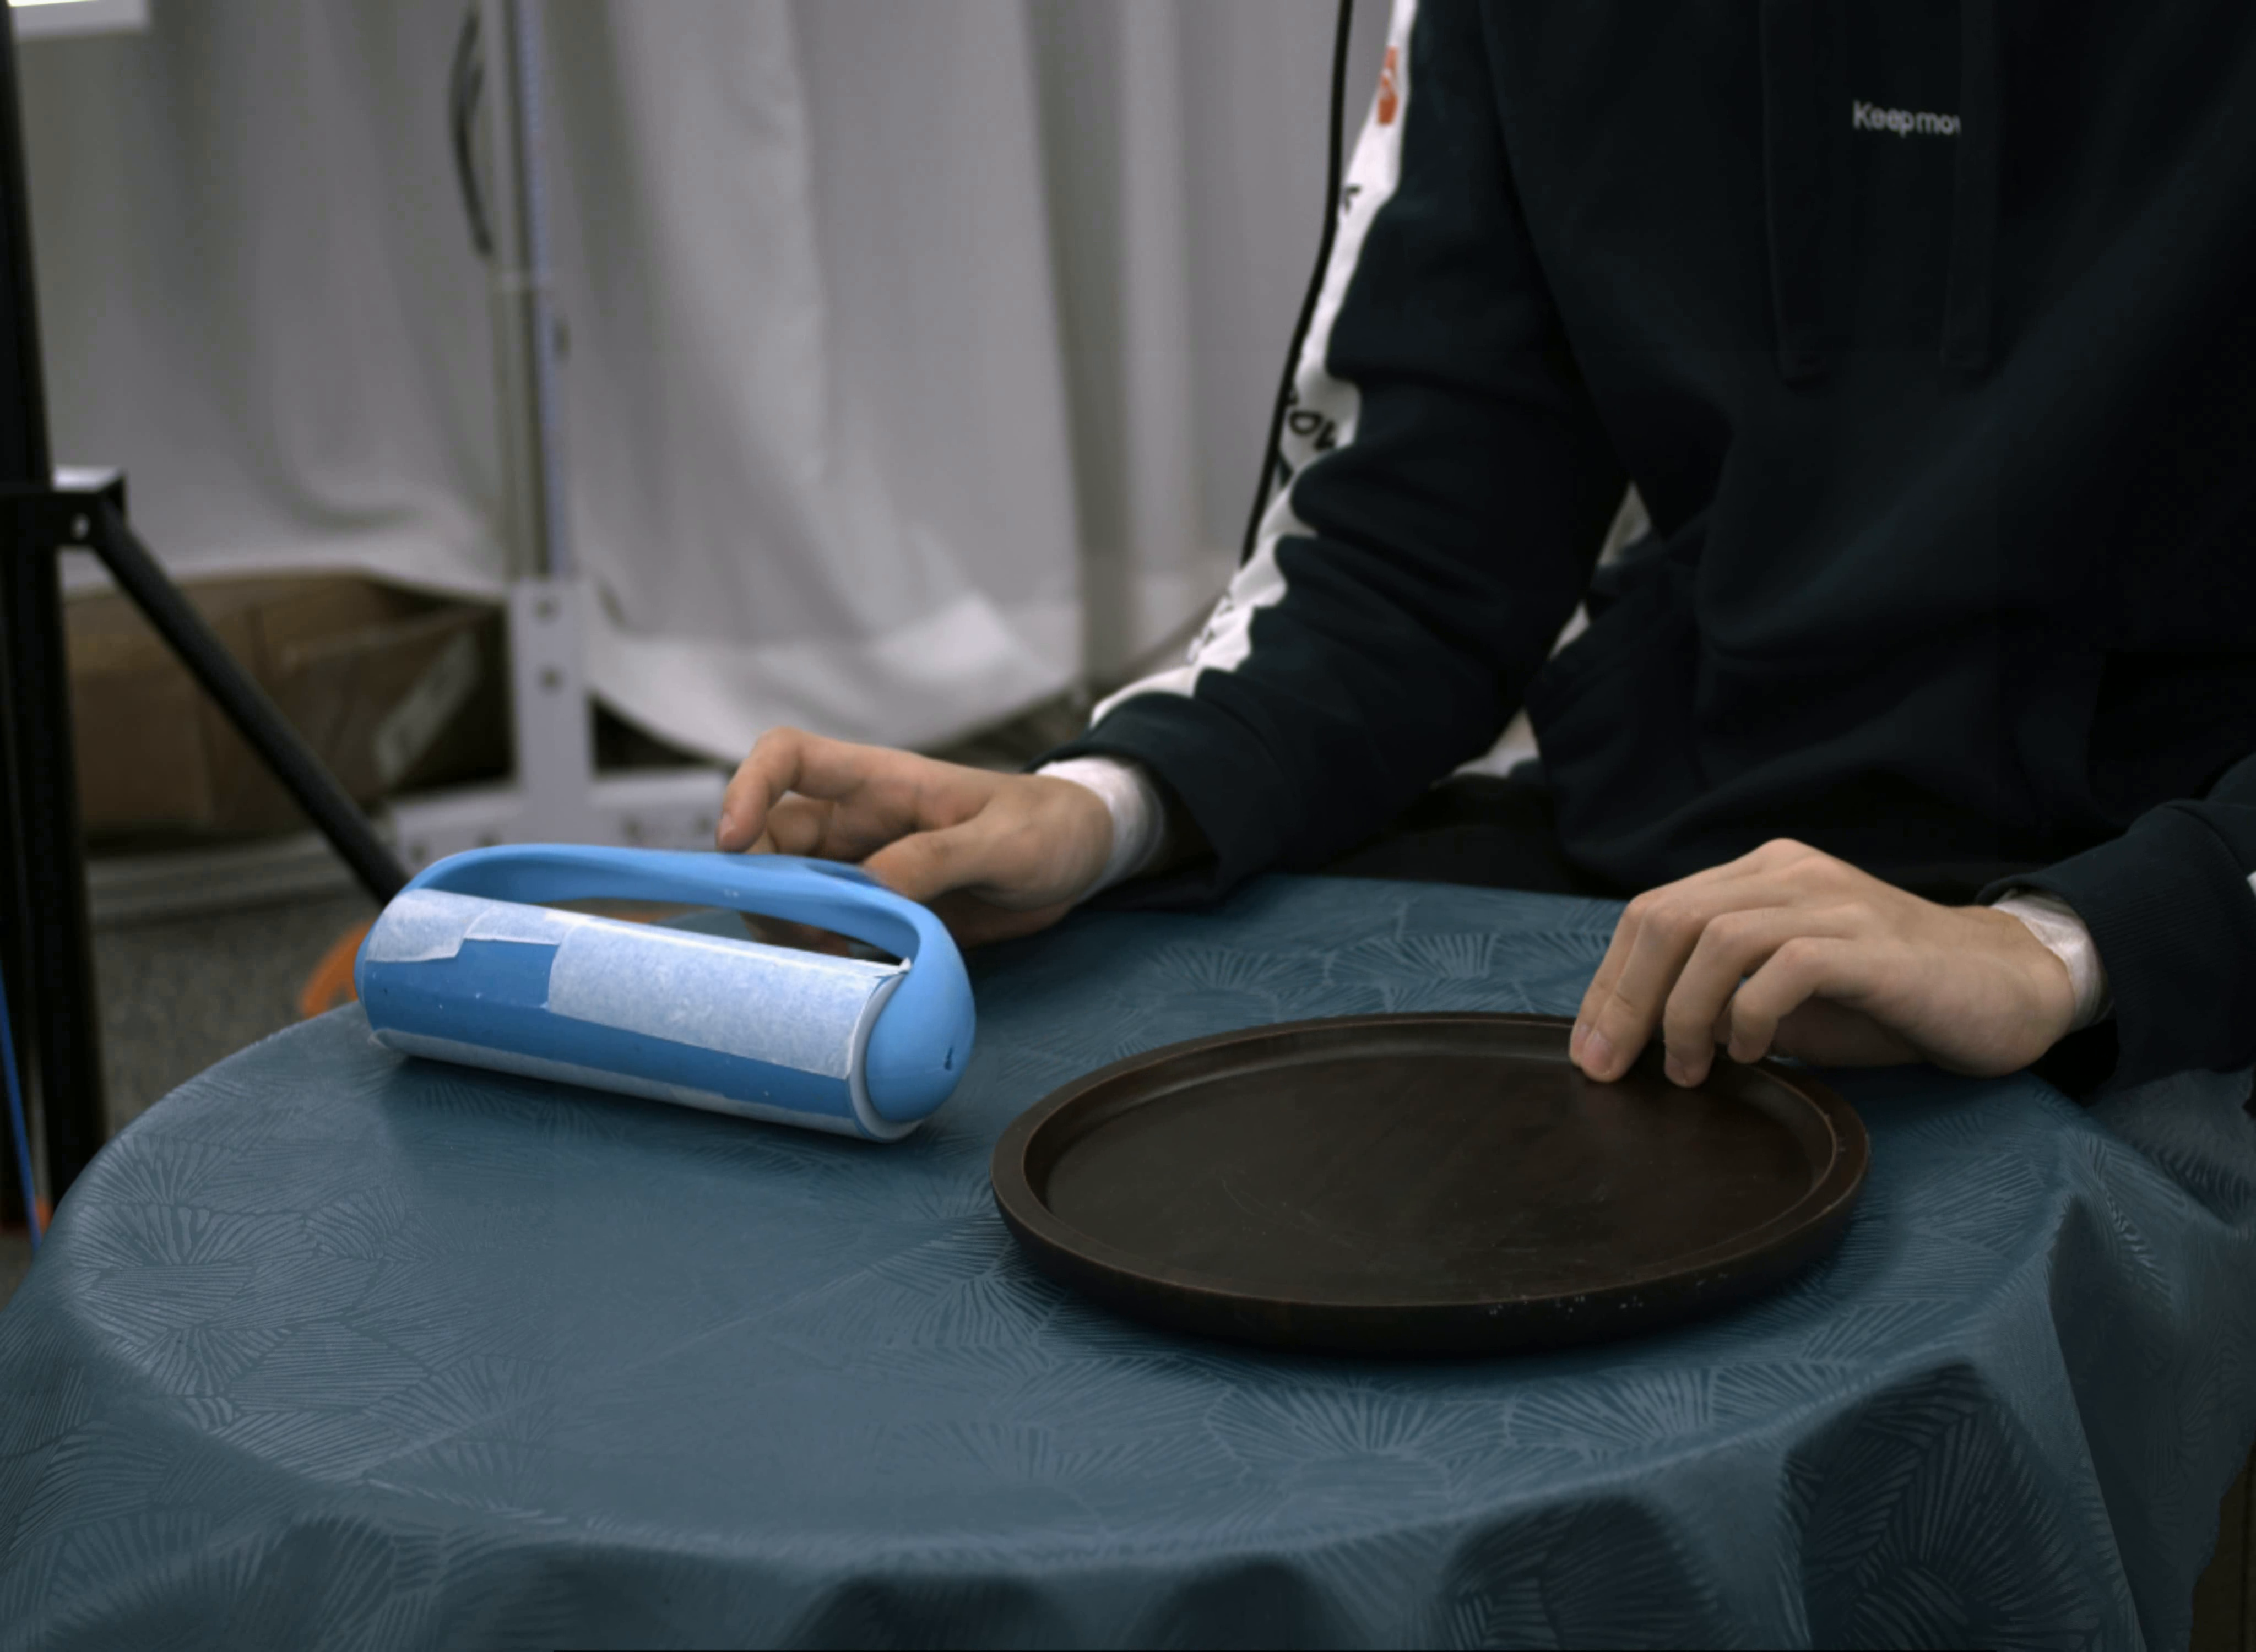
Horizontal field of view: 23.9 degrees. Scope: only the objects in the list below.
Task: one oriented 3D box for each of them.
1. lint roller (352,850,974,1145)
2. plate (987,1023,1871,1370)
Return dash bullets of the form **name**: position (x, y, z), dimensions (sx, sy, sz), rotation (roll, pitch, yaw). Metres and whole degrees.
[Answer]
- **lint roller**: position (-0.119, 0.042, 1.707), dimensions (0.233, 0.068, 0.177), rotation (5, 18, 32)
- **plate**: position (0.086, 0.103, 1.519), dimensions (0.253, 0.029, 0.256), rotation (-2, 17, -1)
